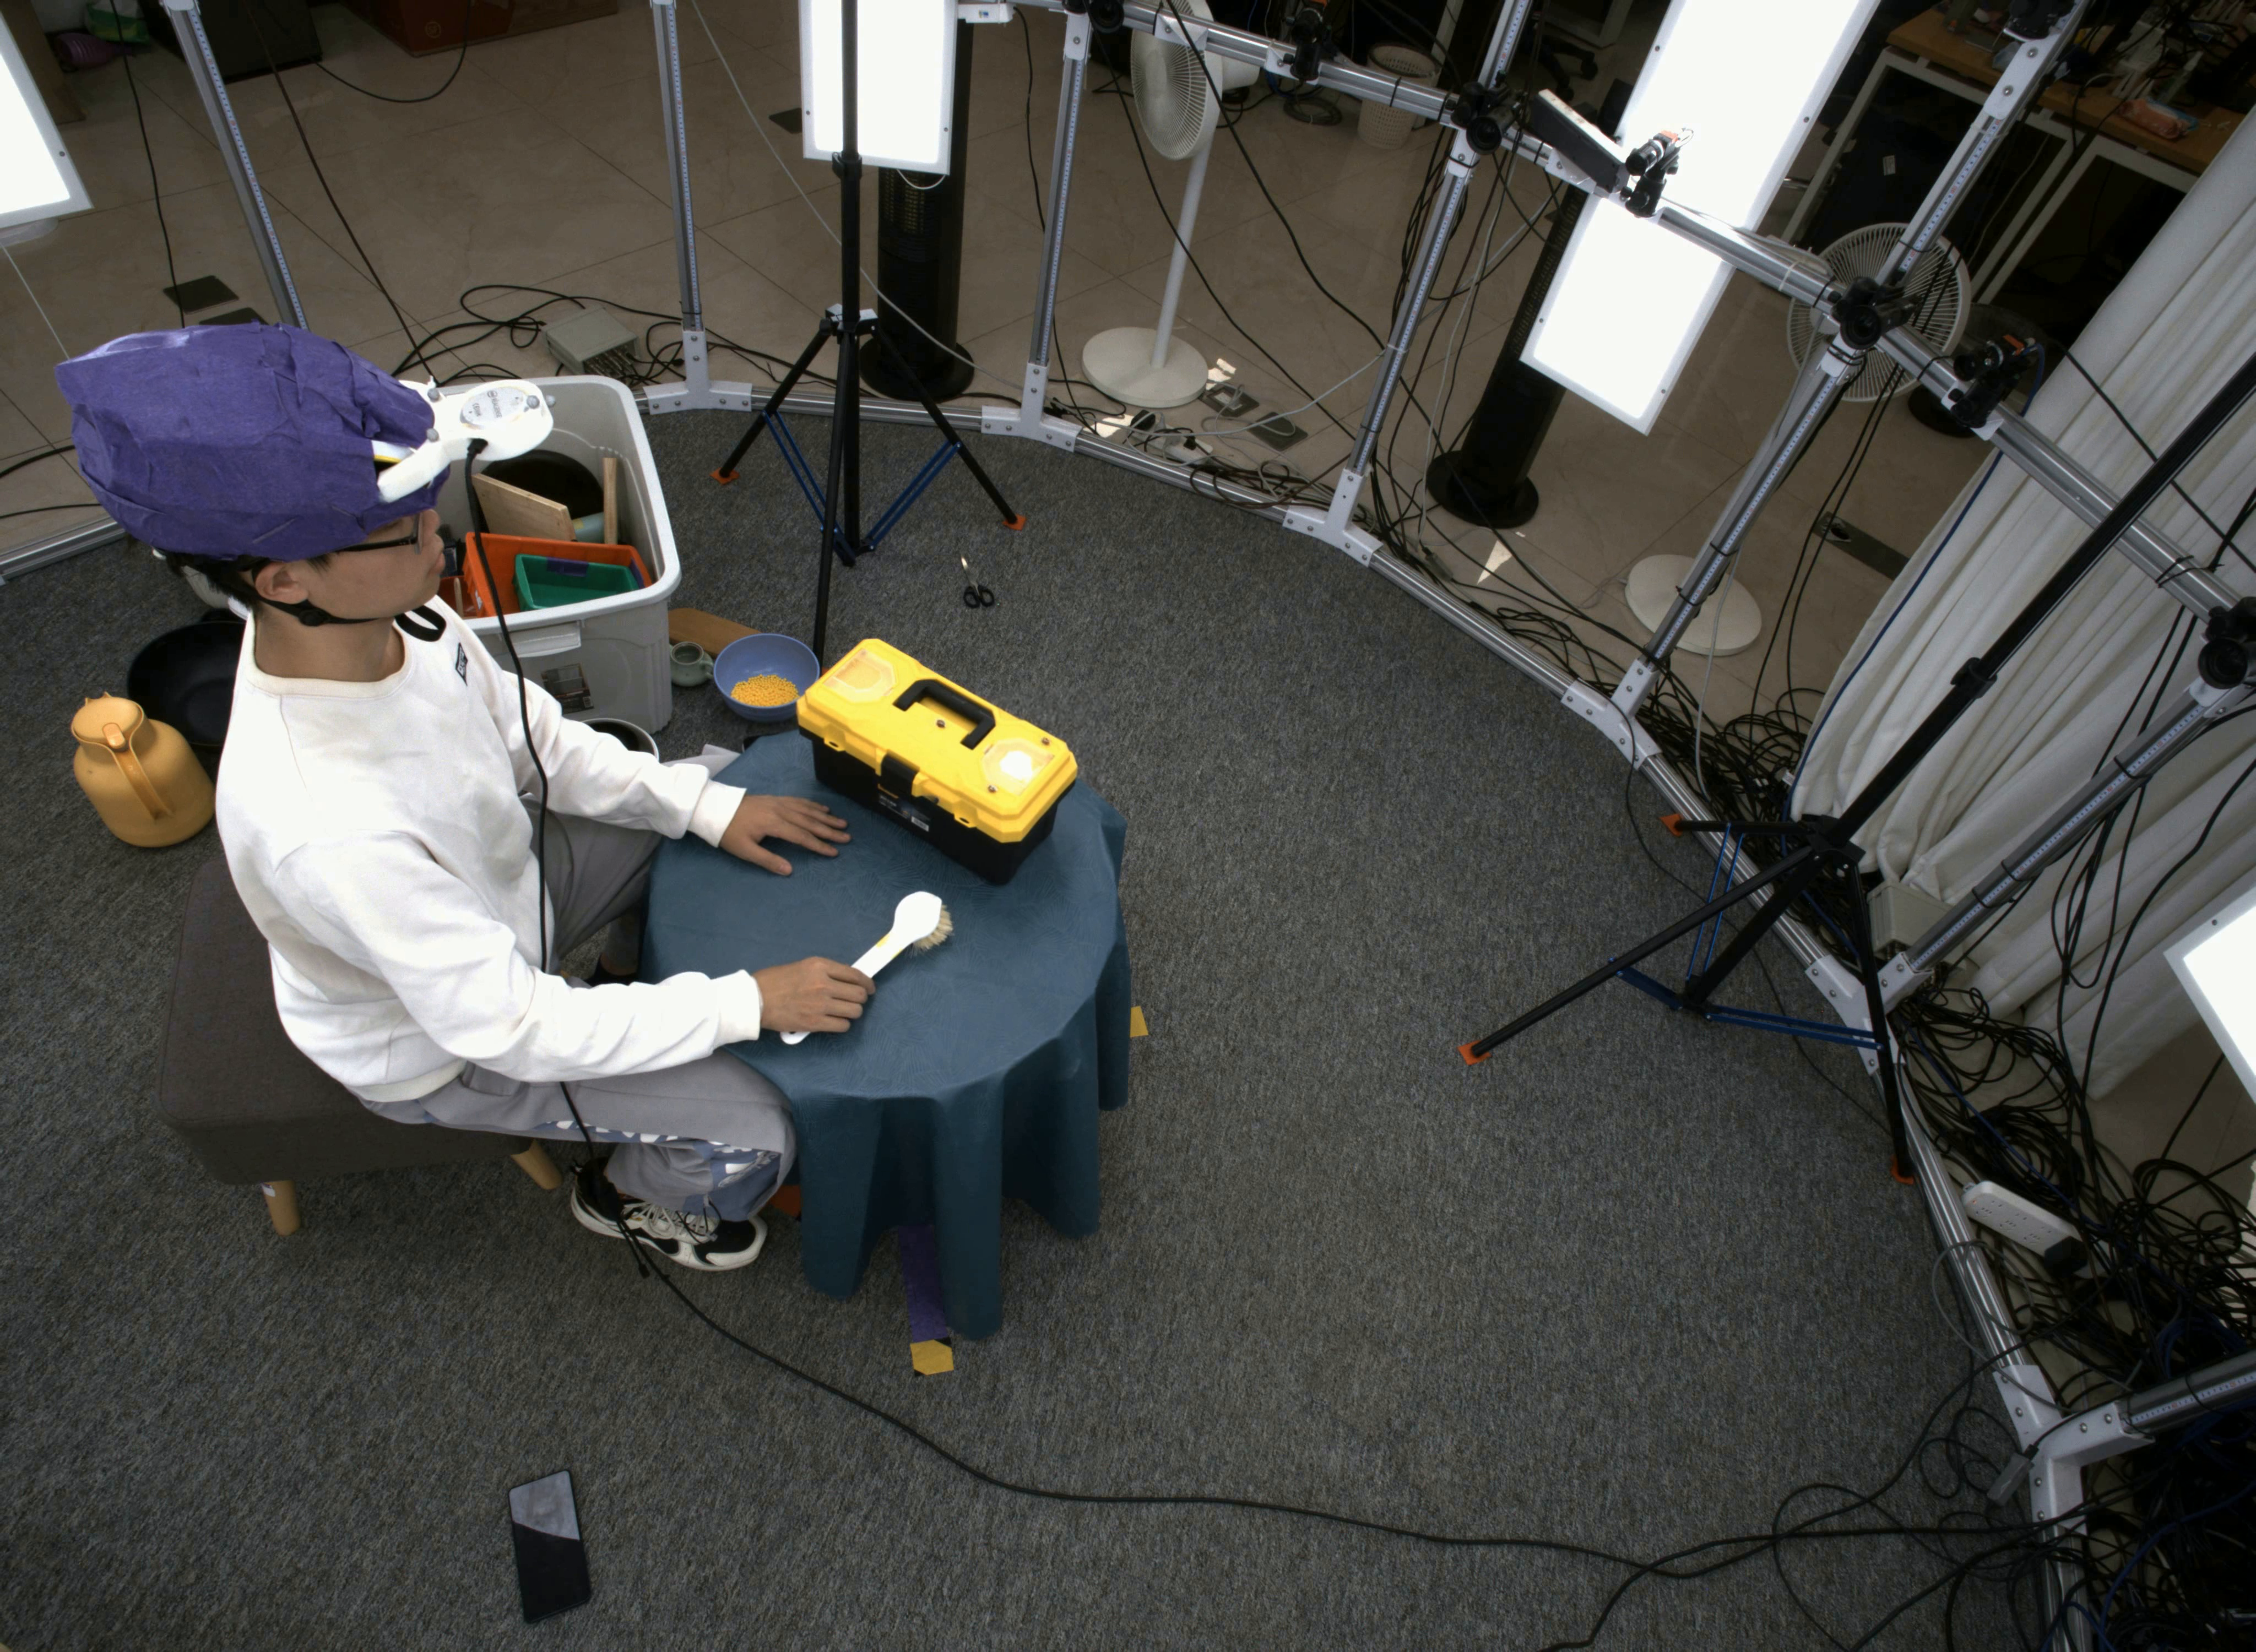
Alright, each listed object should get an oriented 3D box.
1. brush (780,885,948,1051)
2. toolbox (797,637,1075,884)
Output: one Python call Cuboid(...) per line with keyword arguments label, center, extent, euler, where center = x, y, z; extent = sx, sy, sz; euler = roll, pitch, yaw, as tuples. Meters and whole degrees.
Cuboid(label="brush", center=(-0.326, 0.182, 1.613), extent=(0.066, 0.058, 0.266), euler=(27, 66, 32))
Cuboid(label="toolbox", center=(-0.257, -0.084, 1.725), extent=(0.345, 0.176, 0.181), euler=(29, 52, 11))
